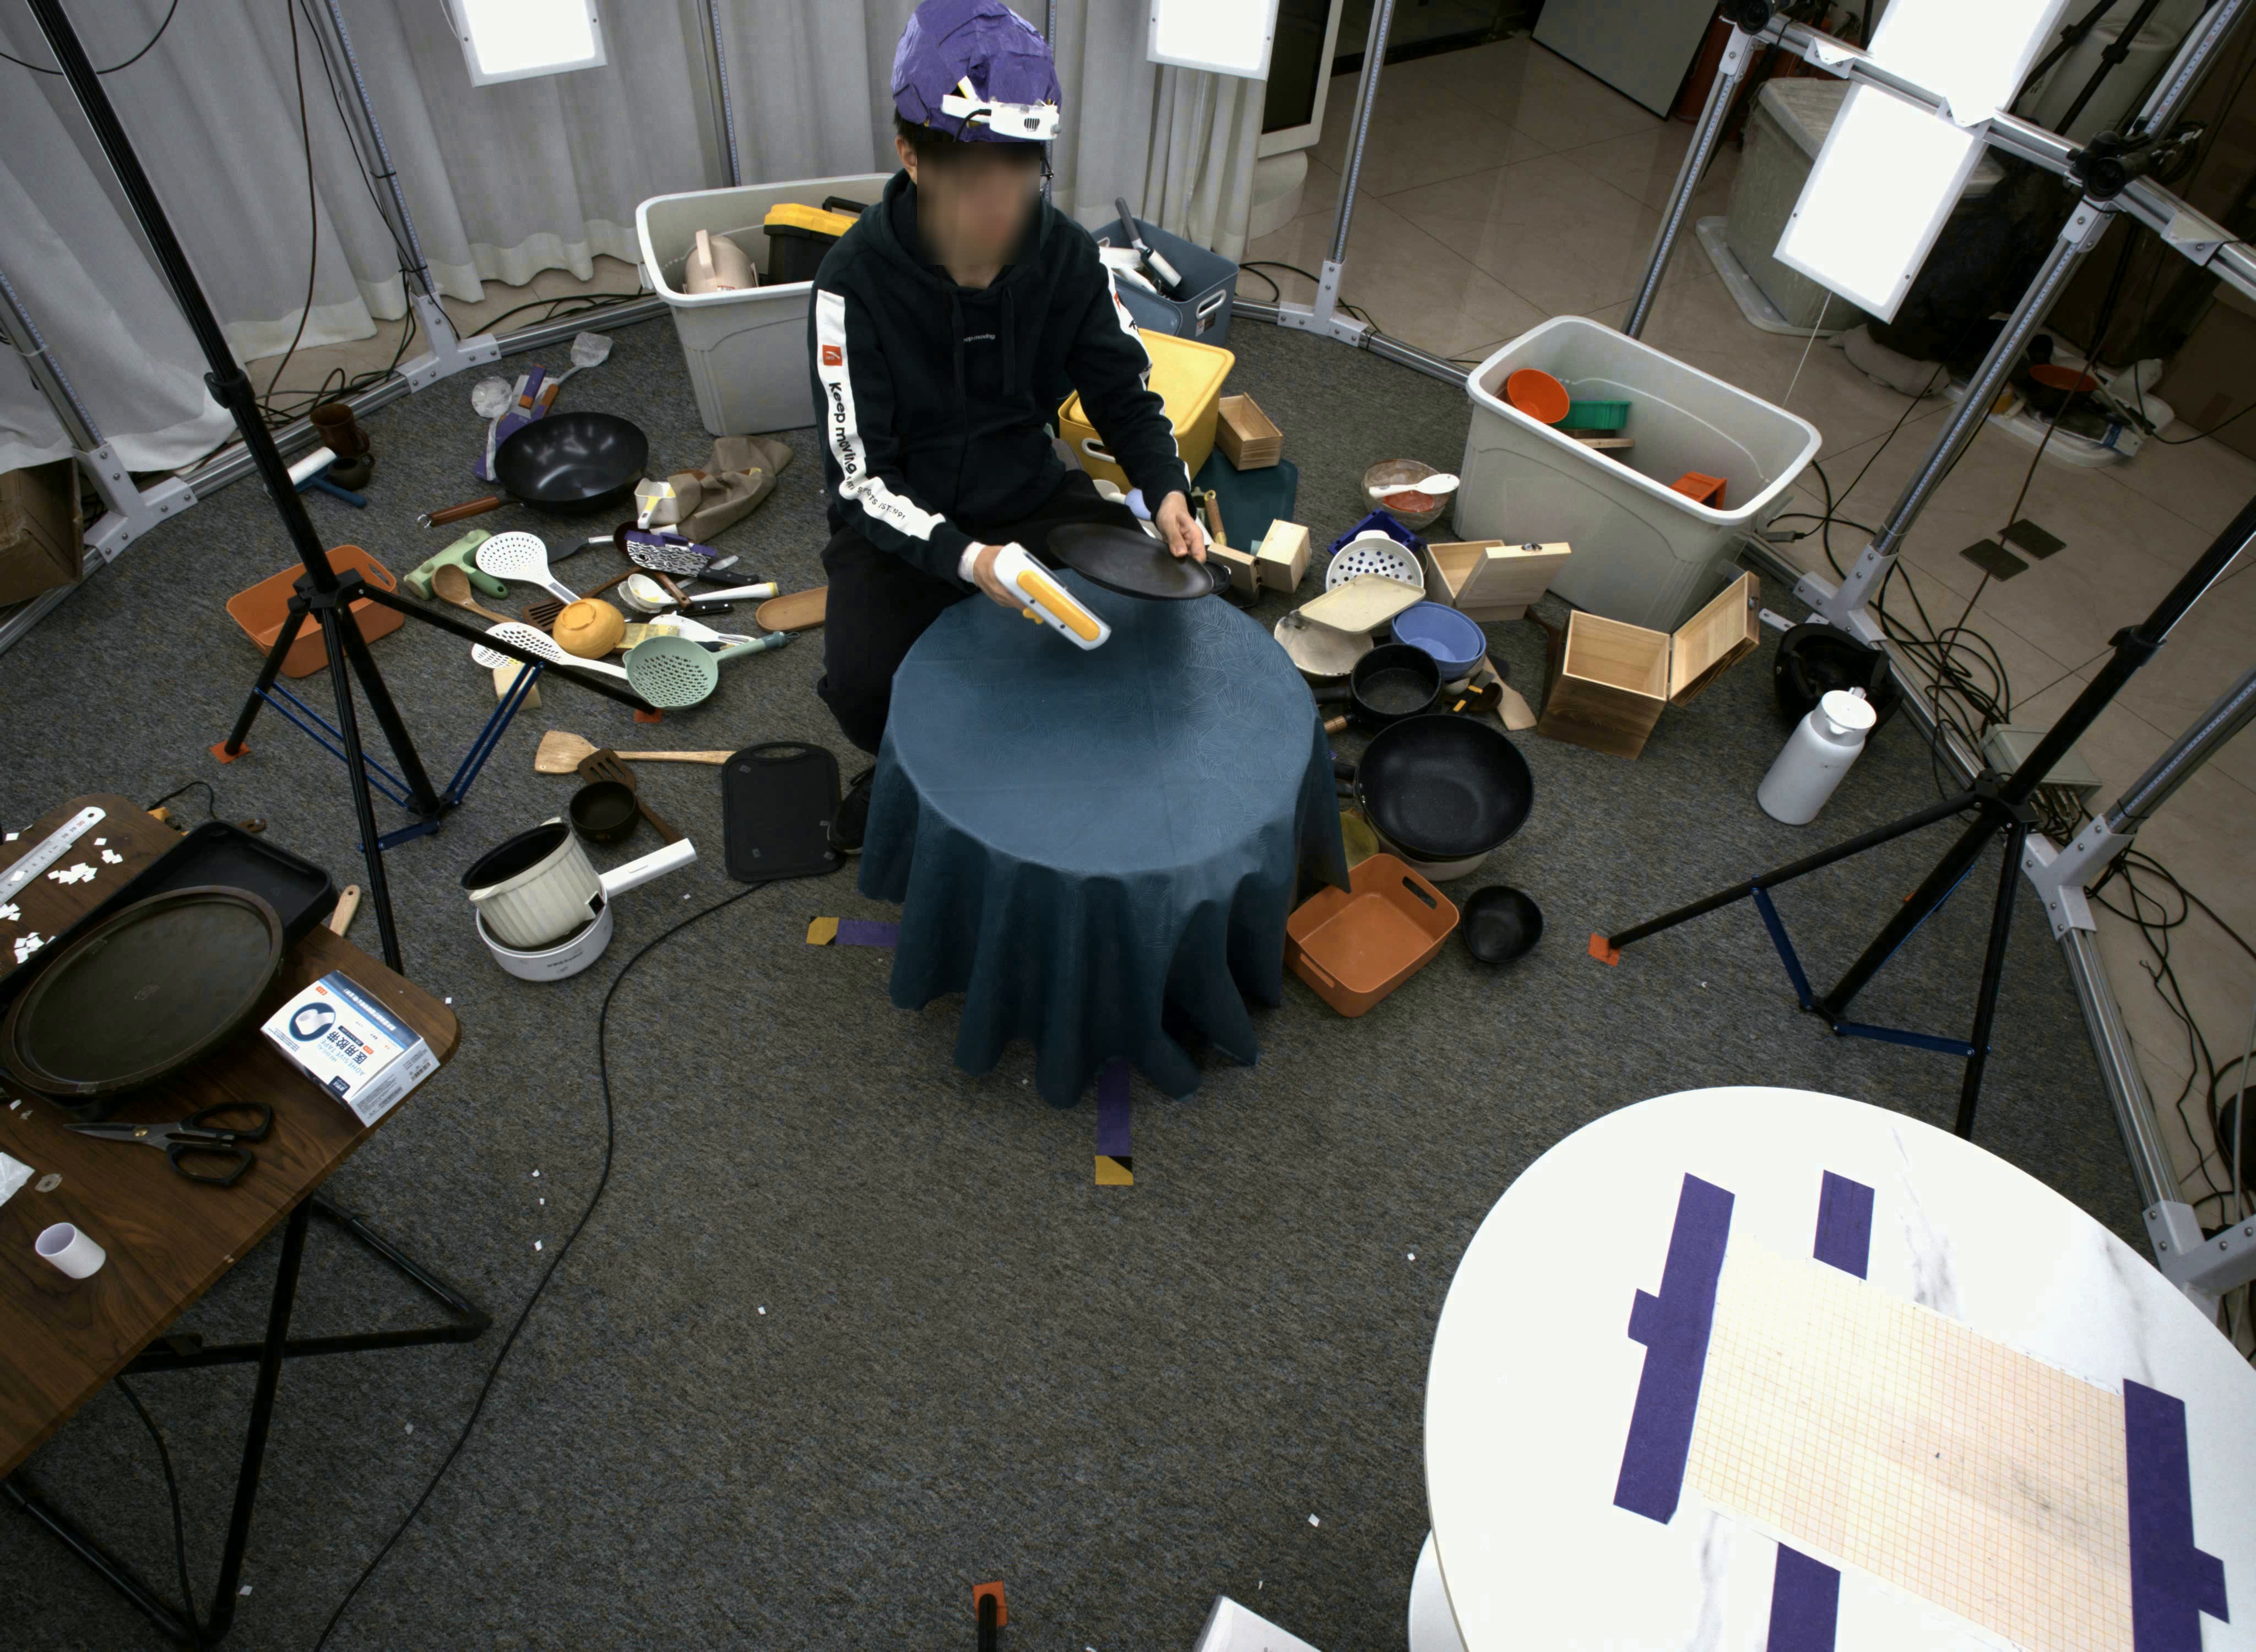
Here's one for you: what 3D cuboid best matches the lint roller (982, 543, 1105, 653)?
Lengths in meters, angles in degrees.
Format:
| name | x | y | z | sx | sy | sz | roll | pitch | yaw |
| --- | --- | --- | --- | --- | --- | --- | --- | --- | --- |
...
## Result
| name | x | y | z | sx | sy | sz | roll | pitch | yaw |
| --- | --- | --- | --- | --- | --- | --- | --- | --- | --- |
| lint roller | -0.137 | -0.315 | 1.790 | 0.074 | 0.190 | 0.195 | -57 | 25 | 0 |

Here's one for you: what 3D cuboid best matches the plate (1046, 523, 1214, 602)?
| name | x | y | z | sx | sy | sz | roll | pitch | yaw |
| --- | --- | --- | --- | --- | --- | --- | --- | --- | --- |
| plate | 0.002 | -0.364 | 1.805 | 0.243 | 0.023 | 0.249 | 13 | 30 | -8 |
